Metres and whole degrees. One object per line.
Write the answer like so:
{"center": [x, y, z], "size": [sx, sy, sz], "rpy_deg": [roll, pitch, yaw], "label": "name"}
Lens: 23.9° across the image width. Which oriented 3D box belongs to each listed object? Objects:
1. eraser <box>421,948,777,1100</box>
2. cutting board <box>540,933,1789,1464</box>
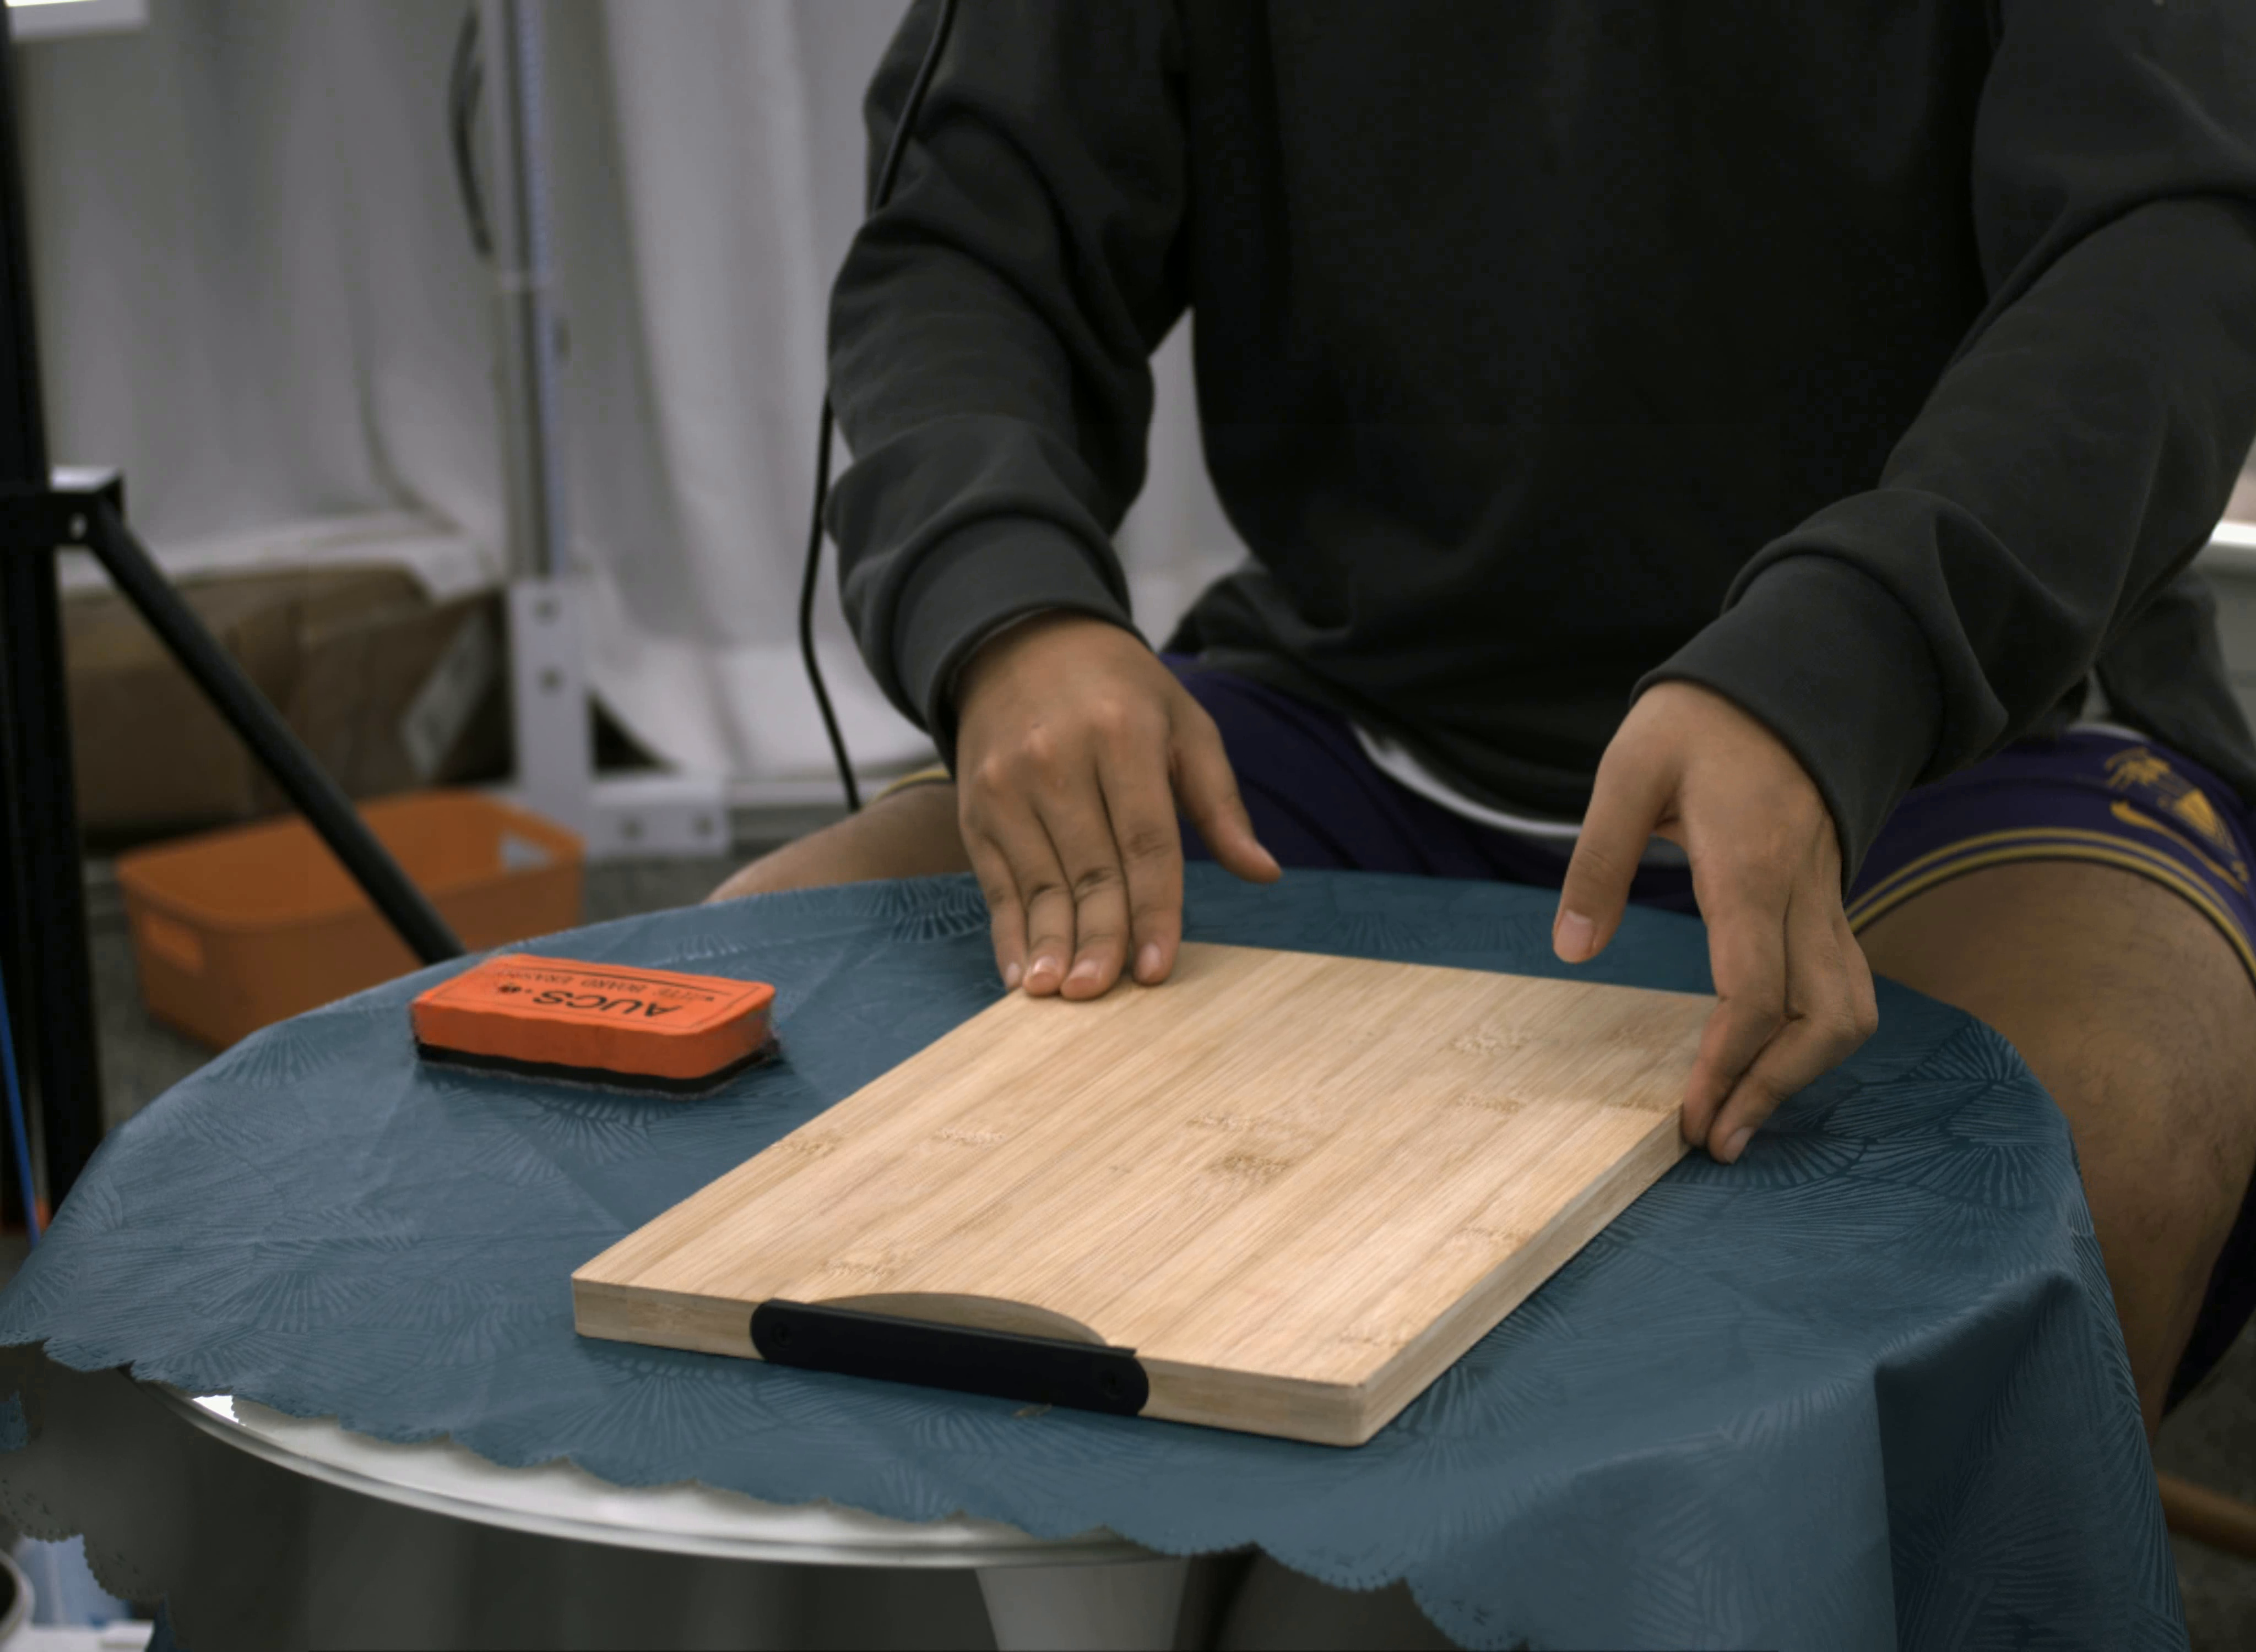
{"center": [-0.168, 0.063, 1.703], "size": [0.110, 0.023, 0.058], "rpy_deg": [7, 18, 28], "label": "eraser"}
{"center": [0.023, 0.101, 1.552], "size": [0.254, 0.023, 0.343], "rpy_deg": [5, 17, 26], "label": "cutting board"}
